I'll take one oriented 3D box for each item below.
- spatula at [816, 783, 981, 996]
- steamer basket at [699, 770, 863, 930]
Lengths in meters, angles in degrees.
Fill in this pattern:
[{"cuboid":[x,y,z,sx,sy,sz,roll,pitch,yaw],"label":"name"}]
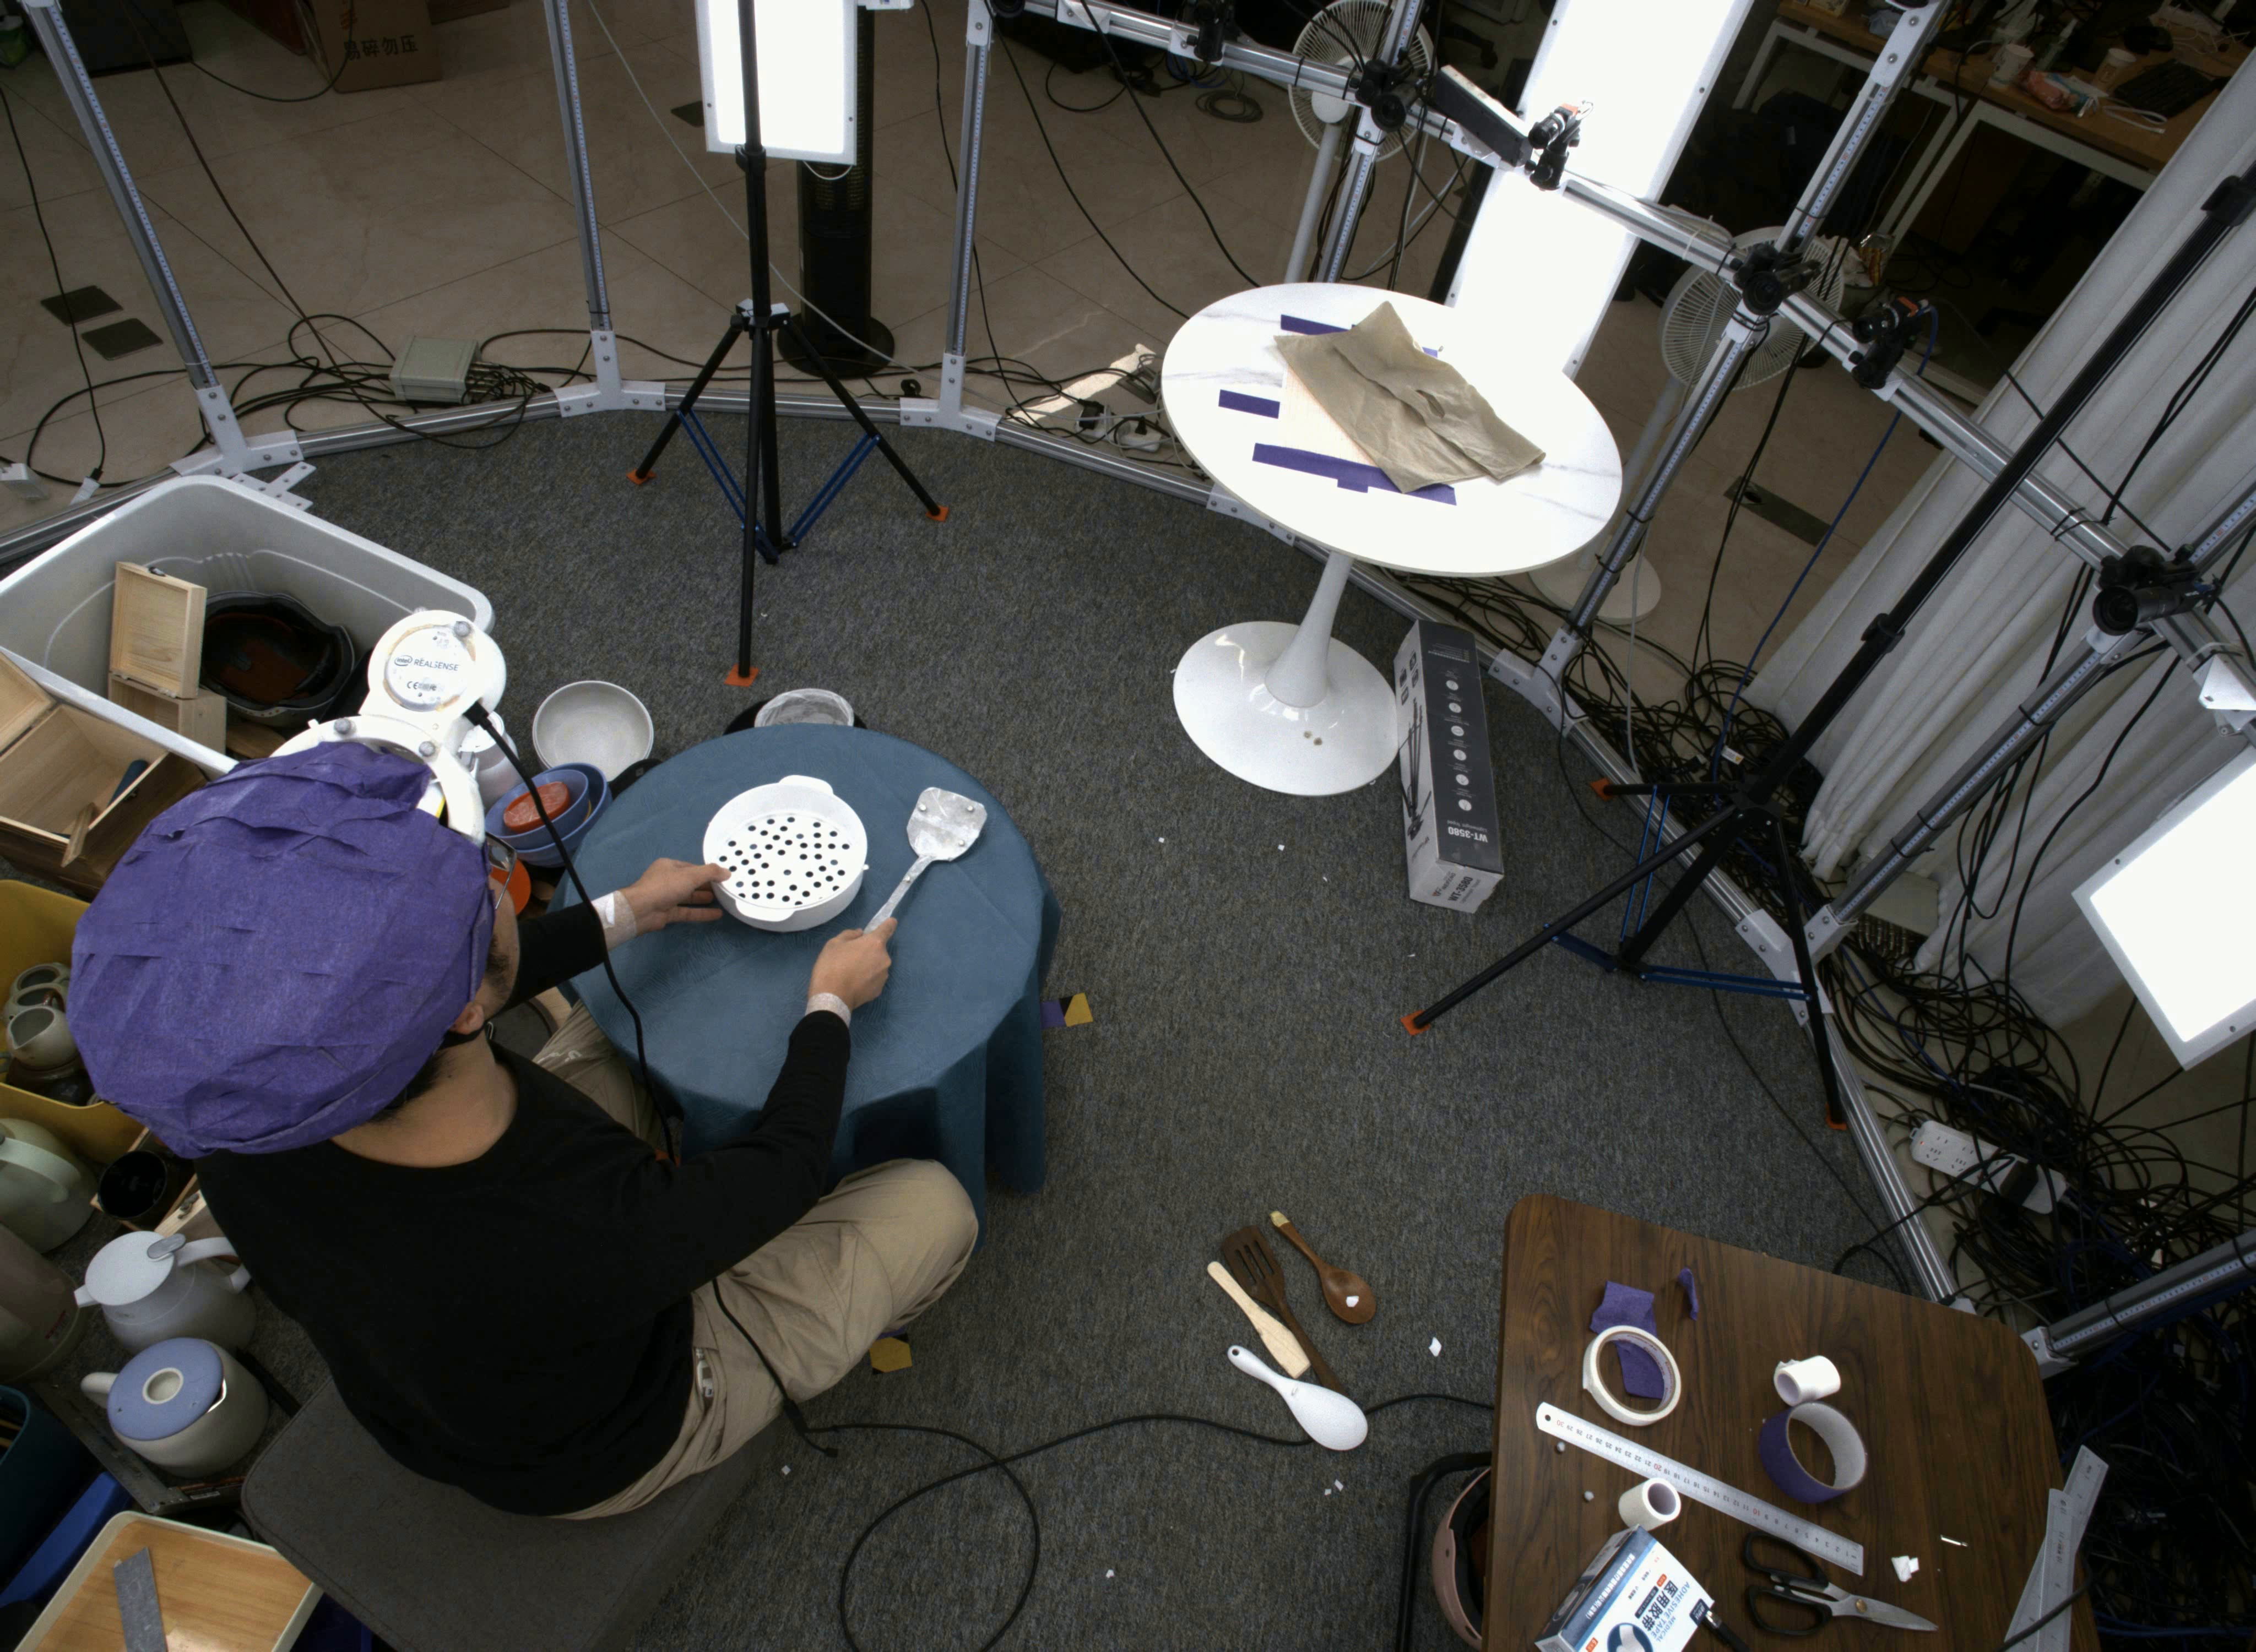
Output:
[{"cuboid":[-0.298,0.077,1.652,0.098,0.045,0.361,24,44,3],"label":"spatula"},{"cuboid":[-0.438,0.035,1.642,0.201,0.070,0.227,12,52,-5],"label":"steamer basket"}]
